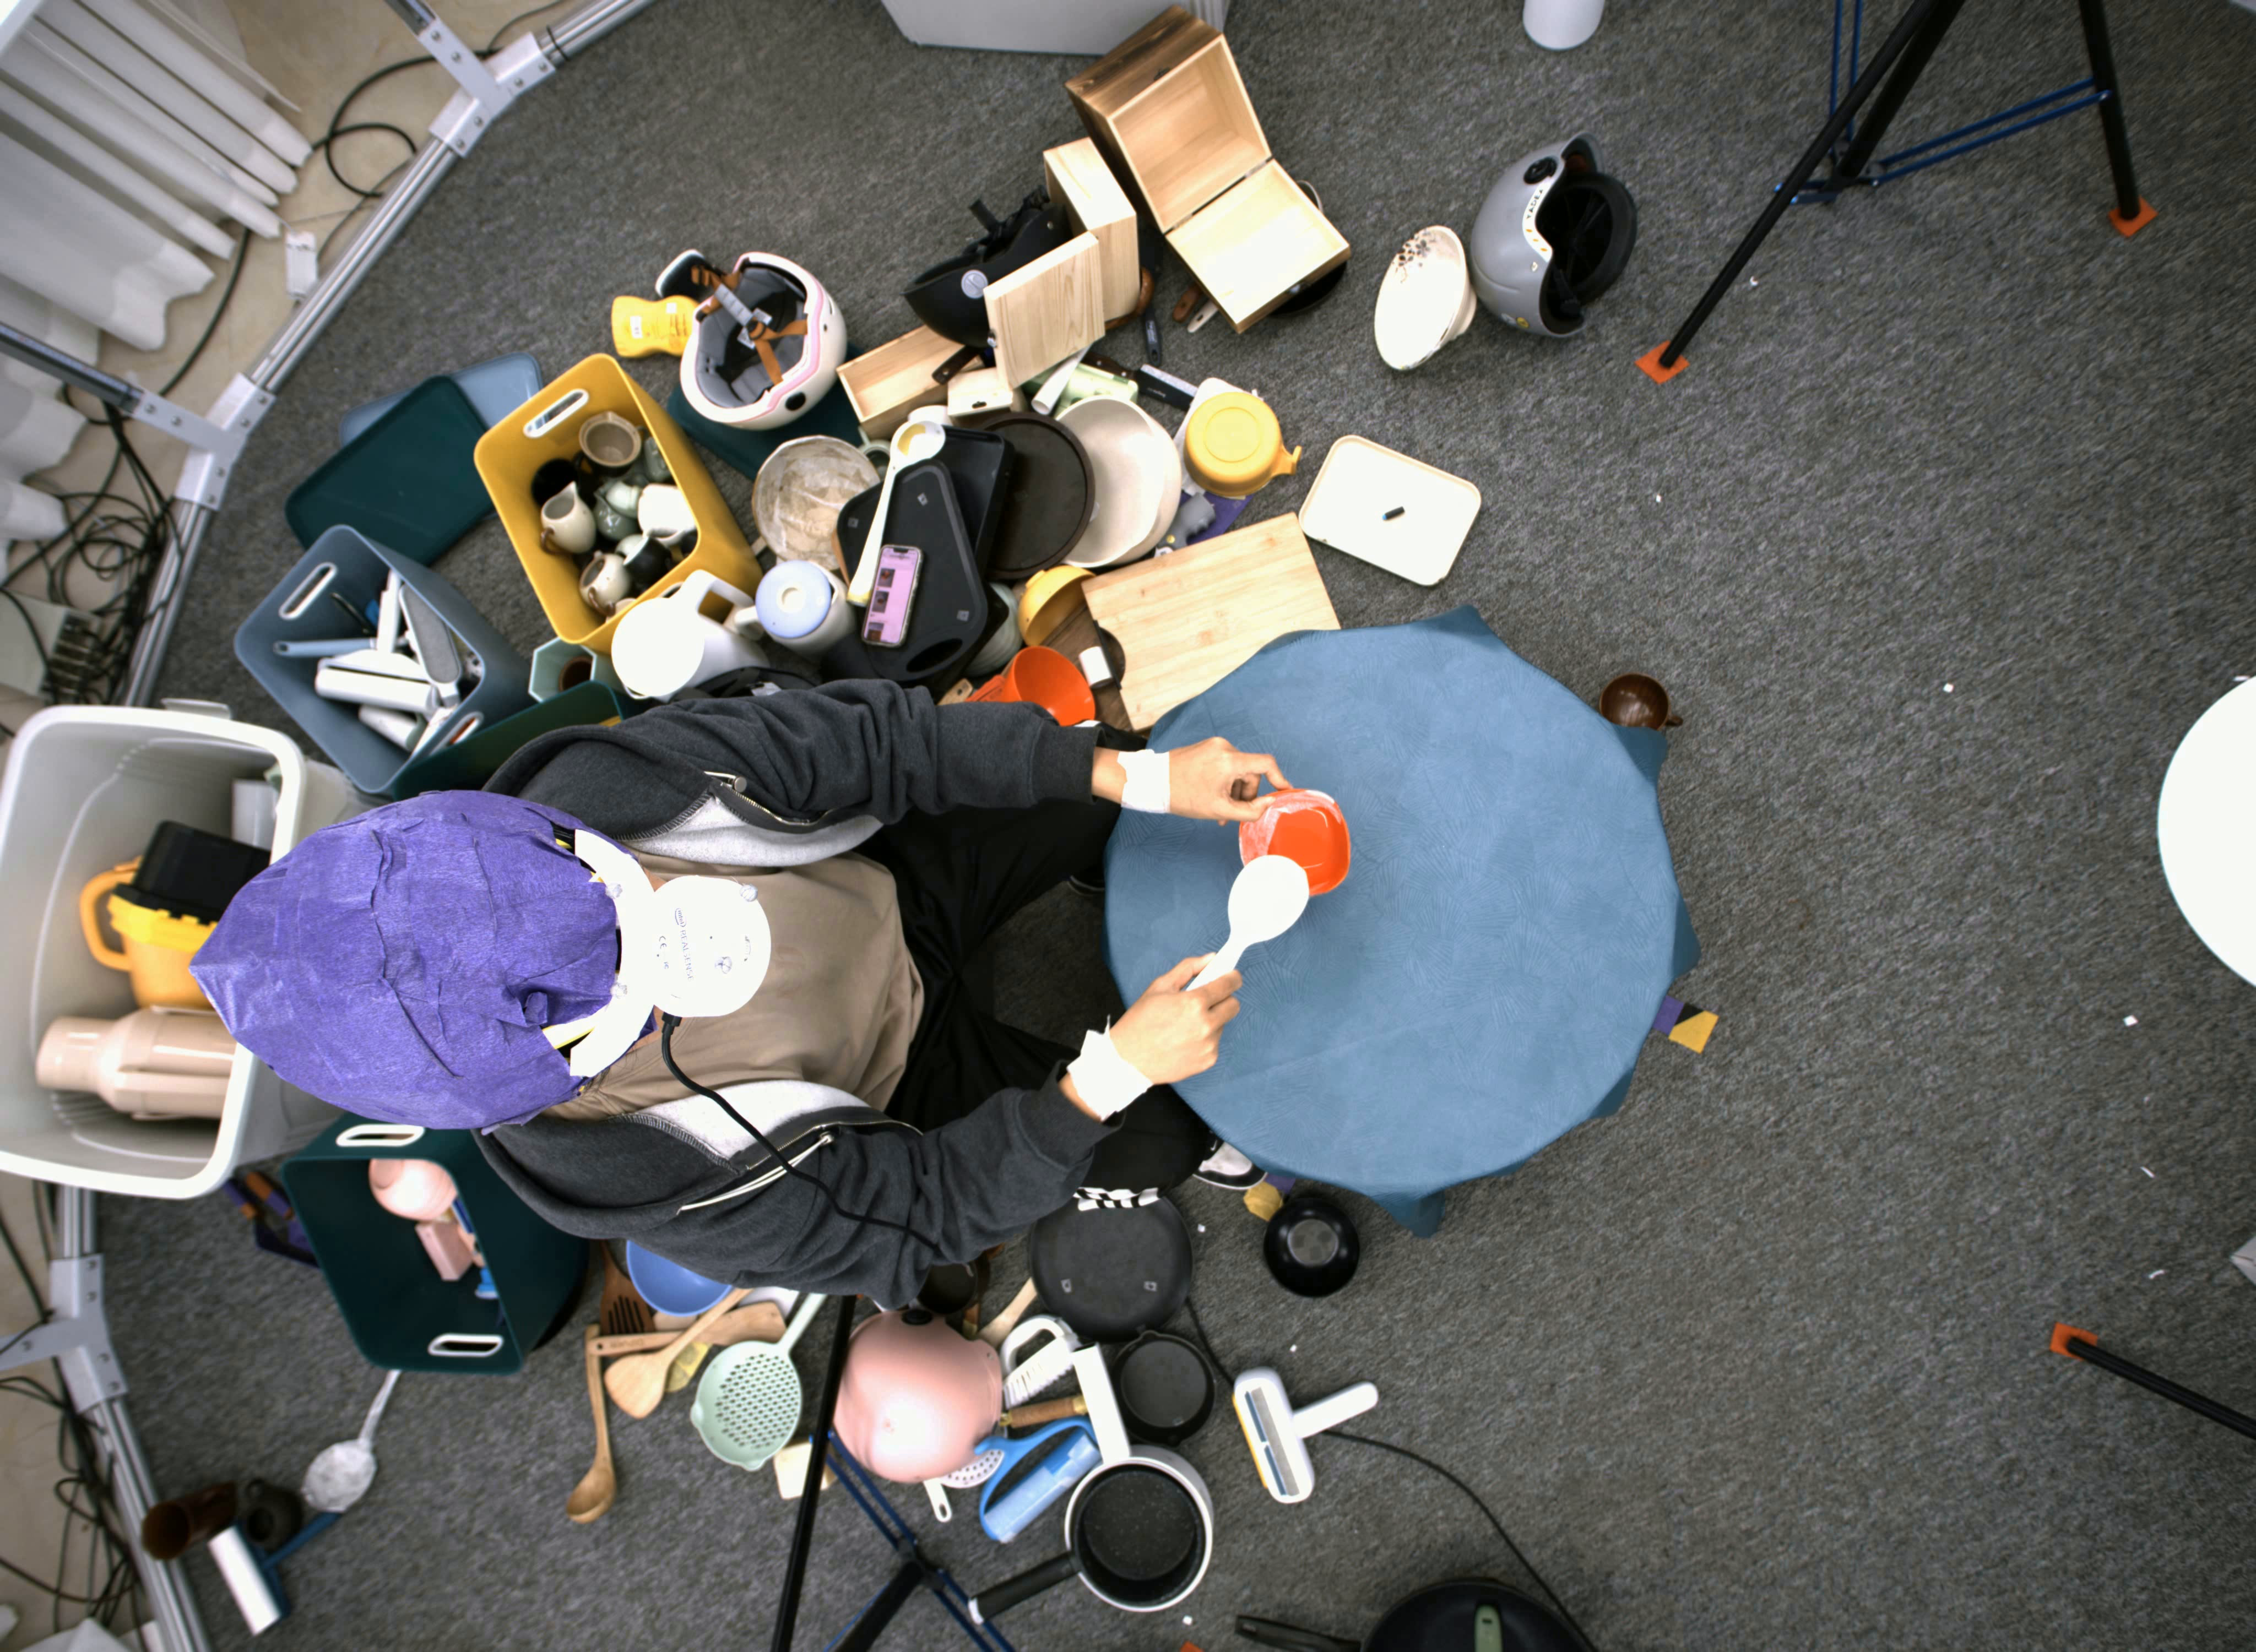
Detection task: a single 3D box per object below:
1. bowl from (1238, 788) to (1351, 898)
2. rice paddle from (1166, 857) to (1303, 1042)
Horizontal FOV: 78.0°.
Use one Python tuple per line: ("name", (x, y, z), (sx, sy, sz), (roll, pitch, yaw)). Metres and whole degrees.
("bowl", (0.168, 0.013, 1.379), (0.119, 0.050, 0.120), (3, 103, 15))
("rice paddle", (0.099, 0.107, 1.279), (0.068, 0.030, 0.201), (32, 67, 7))
